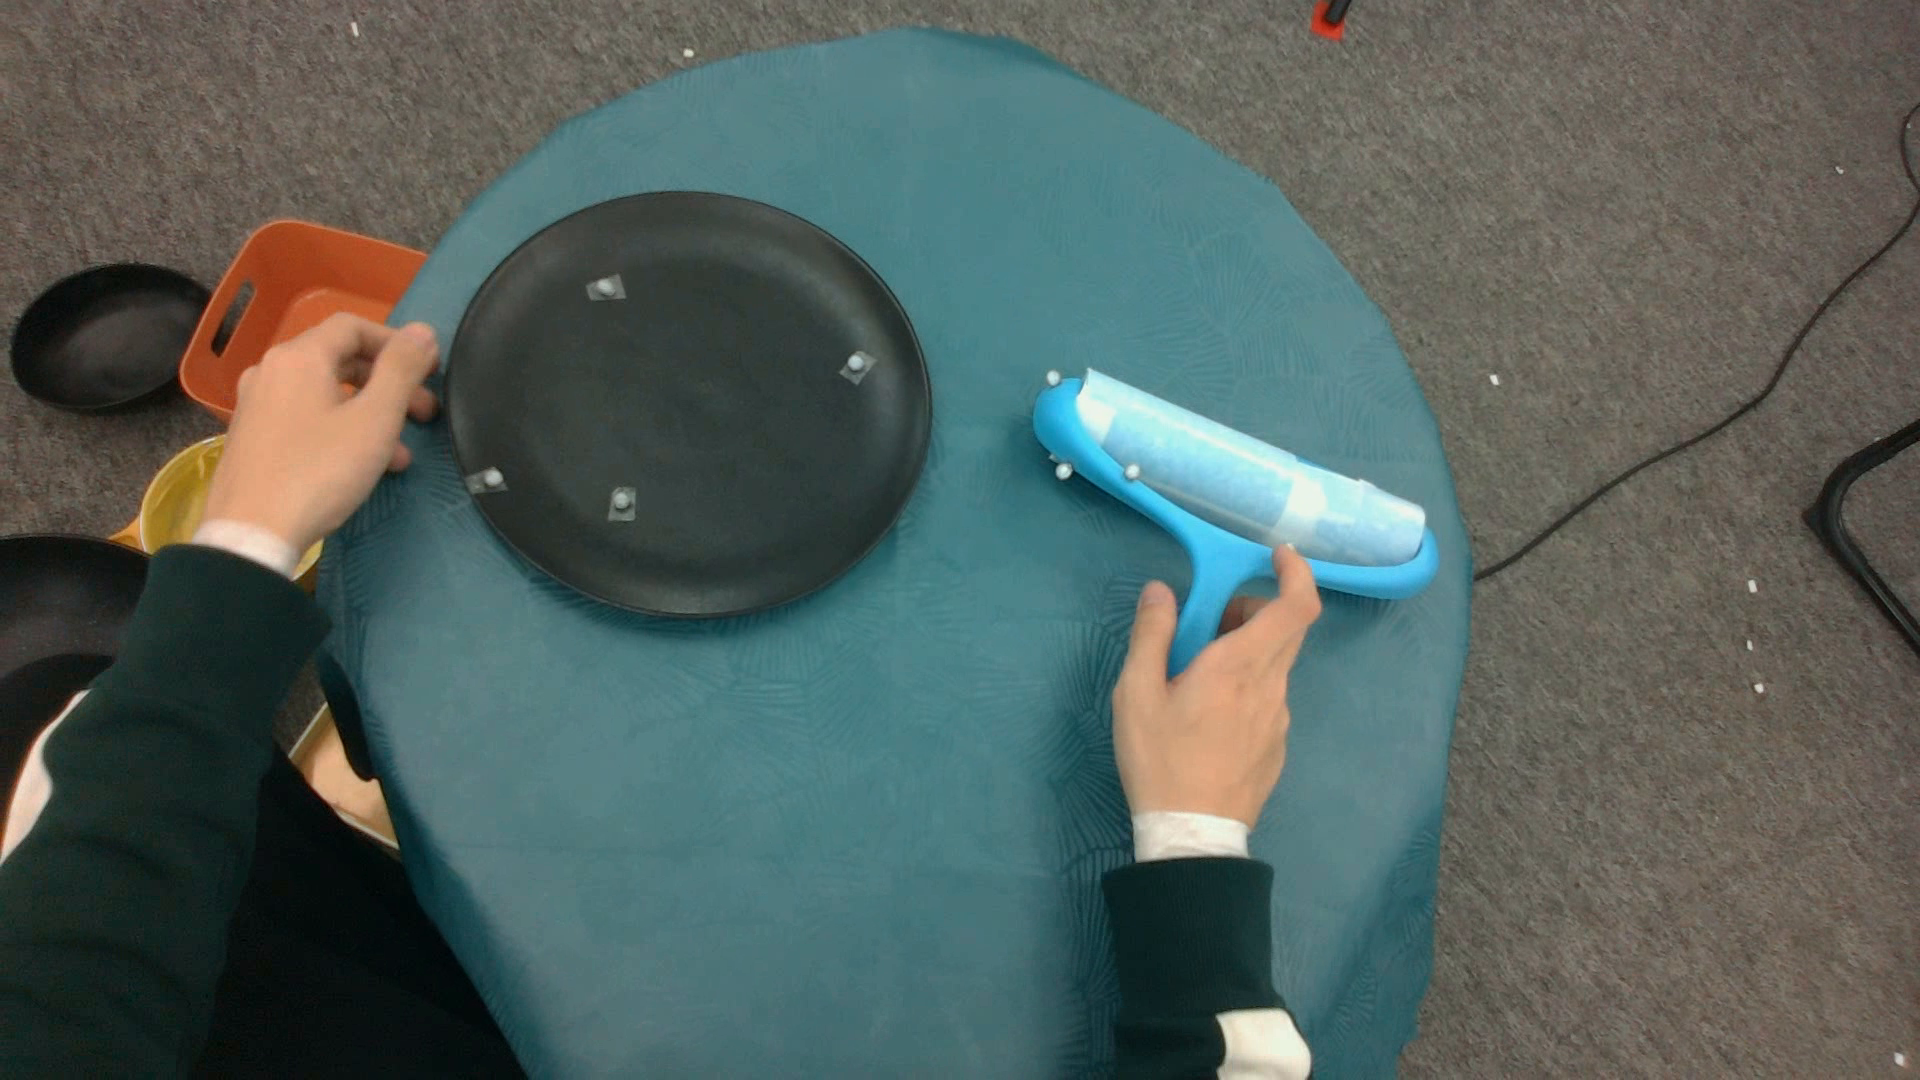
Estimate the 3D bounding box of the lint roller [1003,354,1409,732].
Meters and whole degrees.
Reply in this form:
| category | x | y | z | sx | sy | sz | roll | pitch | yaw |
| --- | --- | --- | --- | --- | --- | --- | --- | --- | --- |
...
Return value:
| category | x | y | z | sx | sy | sz | roll | pitch | yaw |
| --- | --- | --- | --- | --- | --- | --- | --- | --- | --- |
| lint roller | 0.117 | 0.010 | 0.714 | 0.229 | 0.067 | 0.181 | 18 | 66 | -5 |

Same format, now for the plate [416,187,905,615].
| category | x | y | z | sx | sy | sz | roll | pitch | yaw |
| --- | --- | --- | --- | --- | --- | --- | --- | --- | --- |
| plate | -0.151 | -0.074 | 0.711 | 0.244 | 0.023 | 0.245 | 4 | 67 | -10 |
